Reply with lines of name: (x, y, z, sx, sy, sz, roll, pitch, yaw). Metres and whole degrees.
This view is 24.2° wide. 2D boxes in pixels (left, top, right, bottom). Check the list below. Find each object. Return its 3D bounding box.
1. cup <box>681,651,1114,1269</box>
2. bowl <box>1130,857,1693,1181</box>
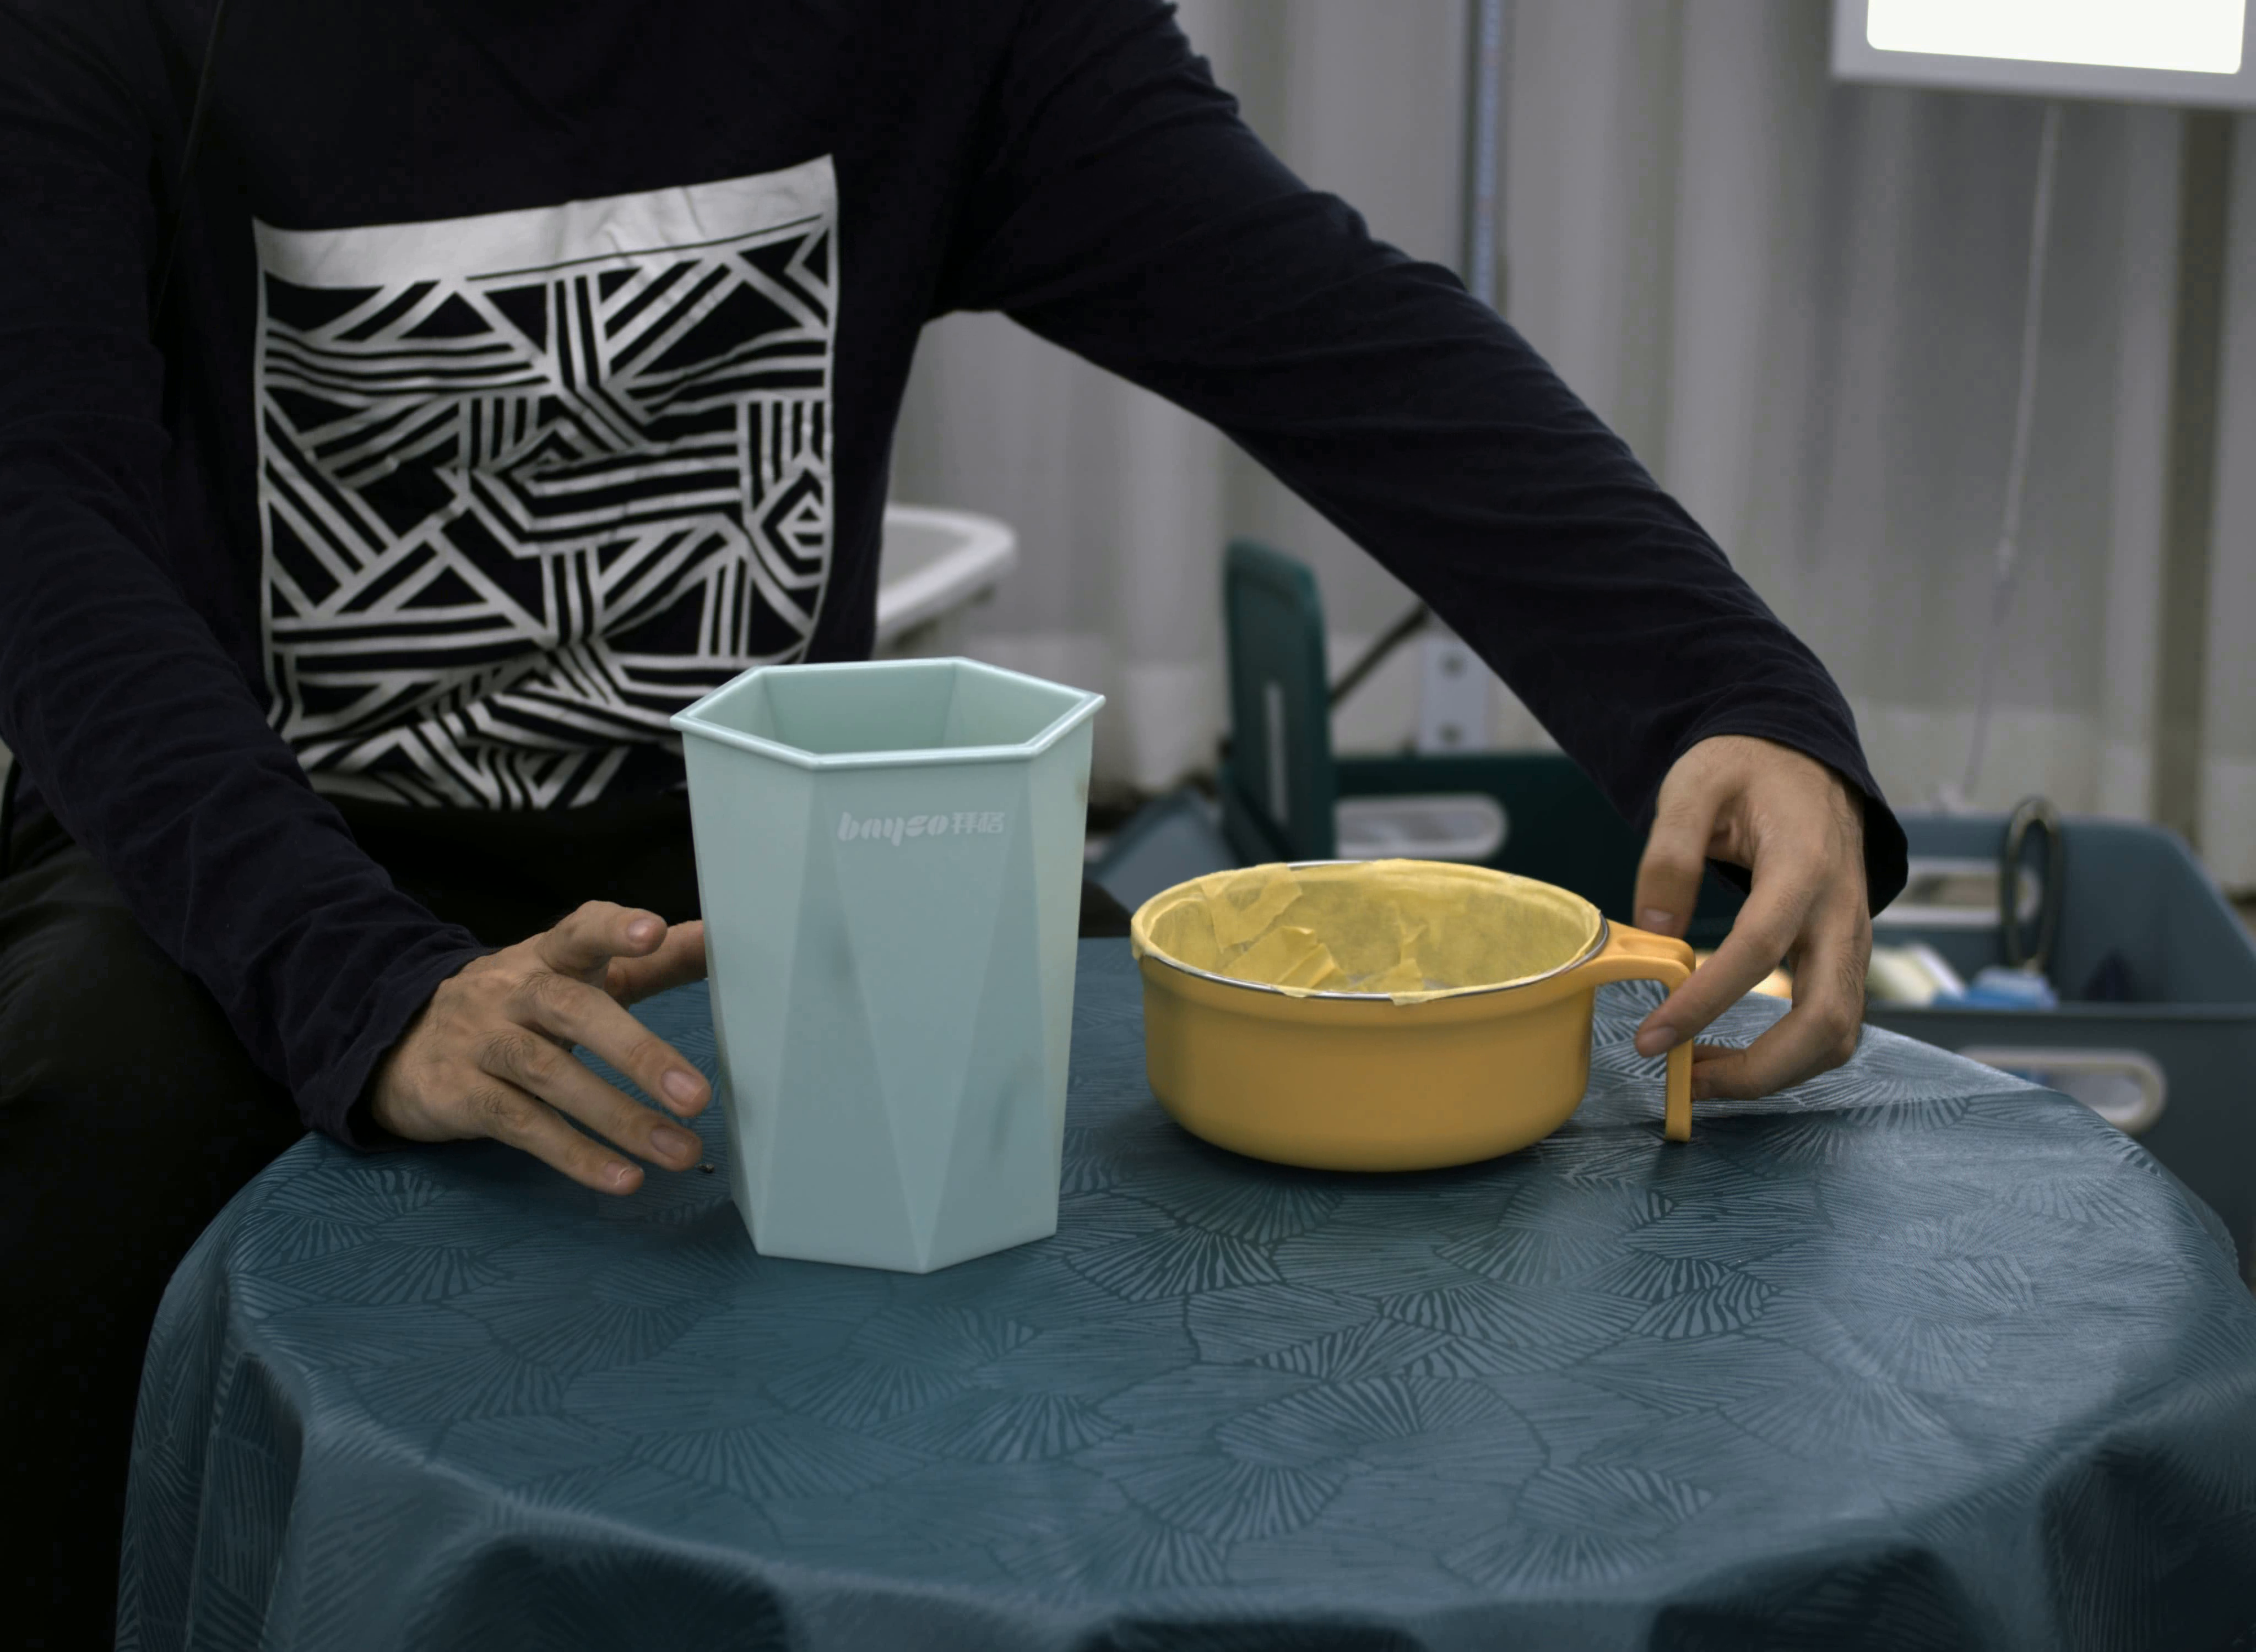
cup: (-0.069, 0.039, 1.576, 0.131, 0.164, 0.114, -3, 15, -14)
bowl: (0.090, 0.064, 1.680, 0.178, 0.075, 0.152, 1, 14, 4)
